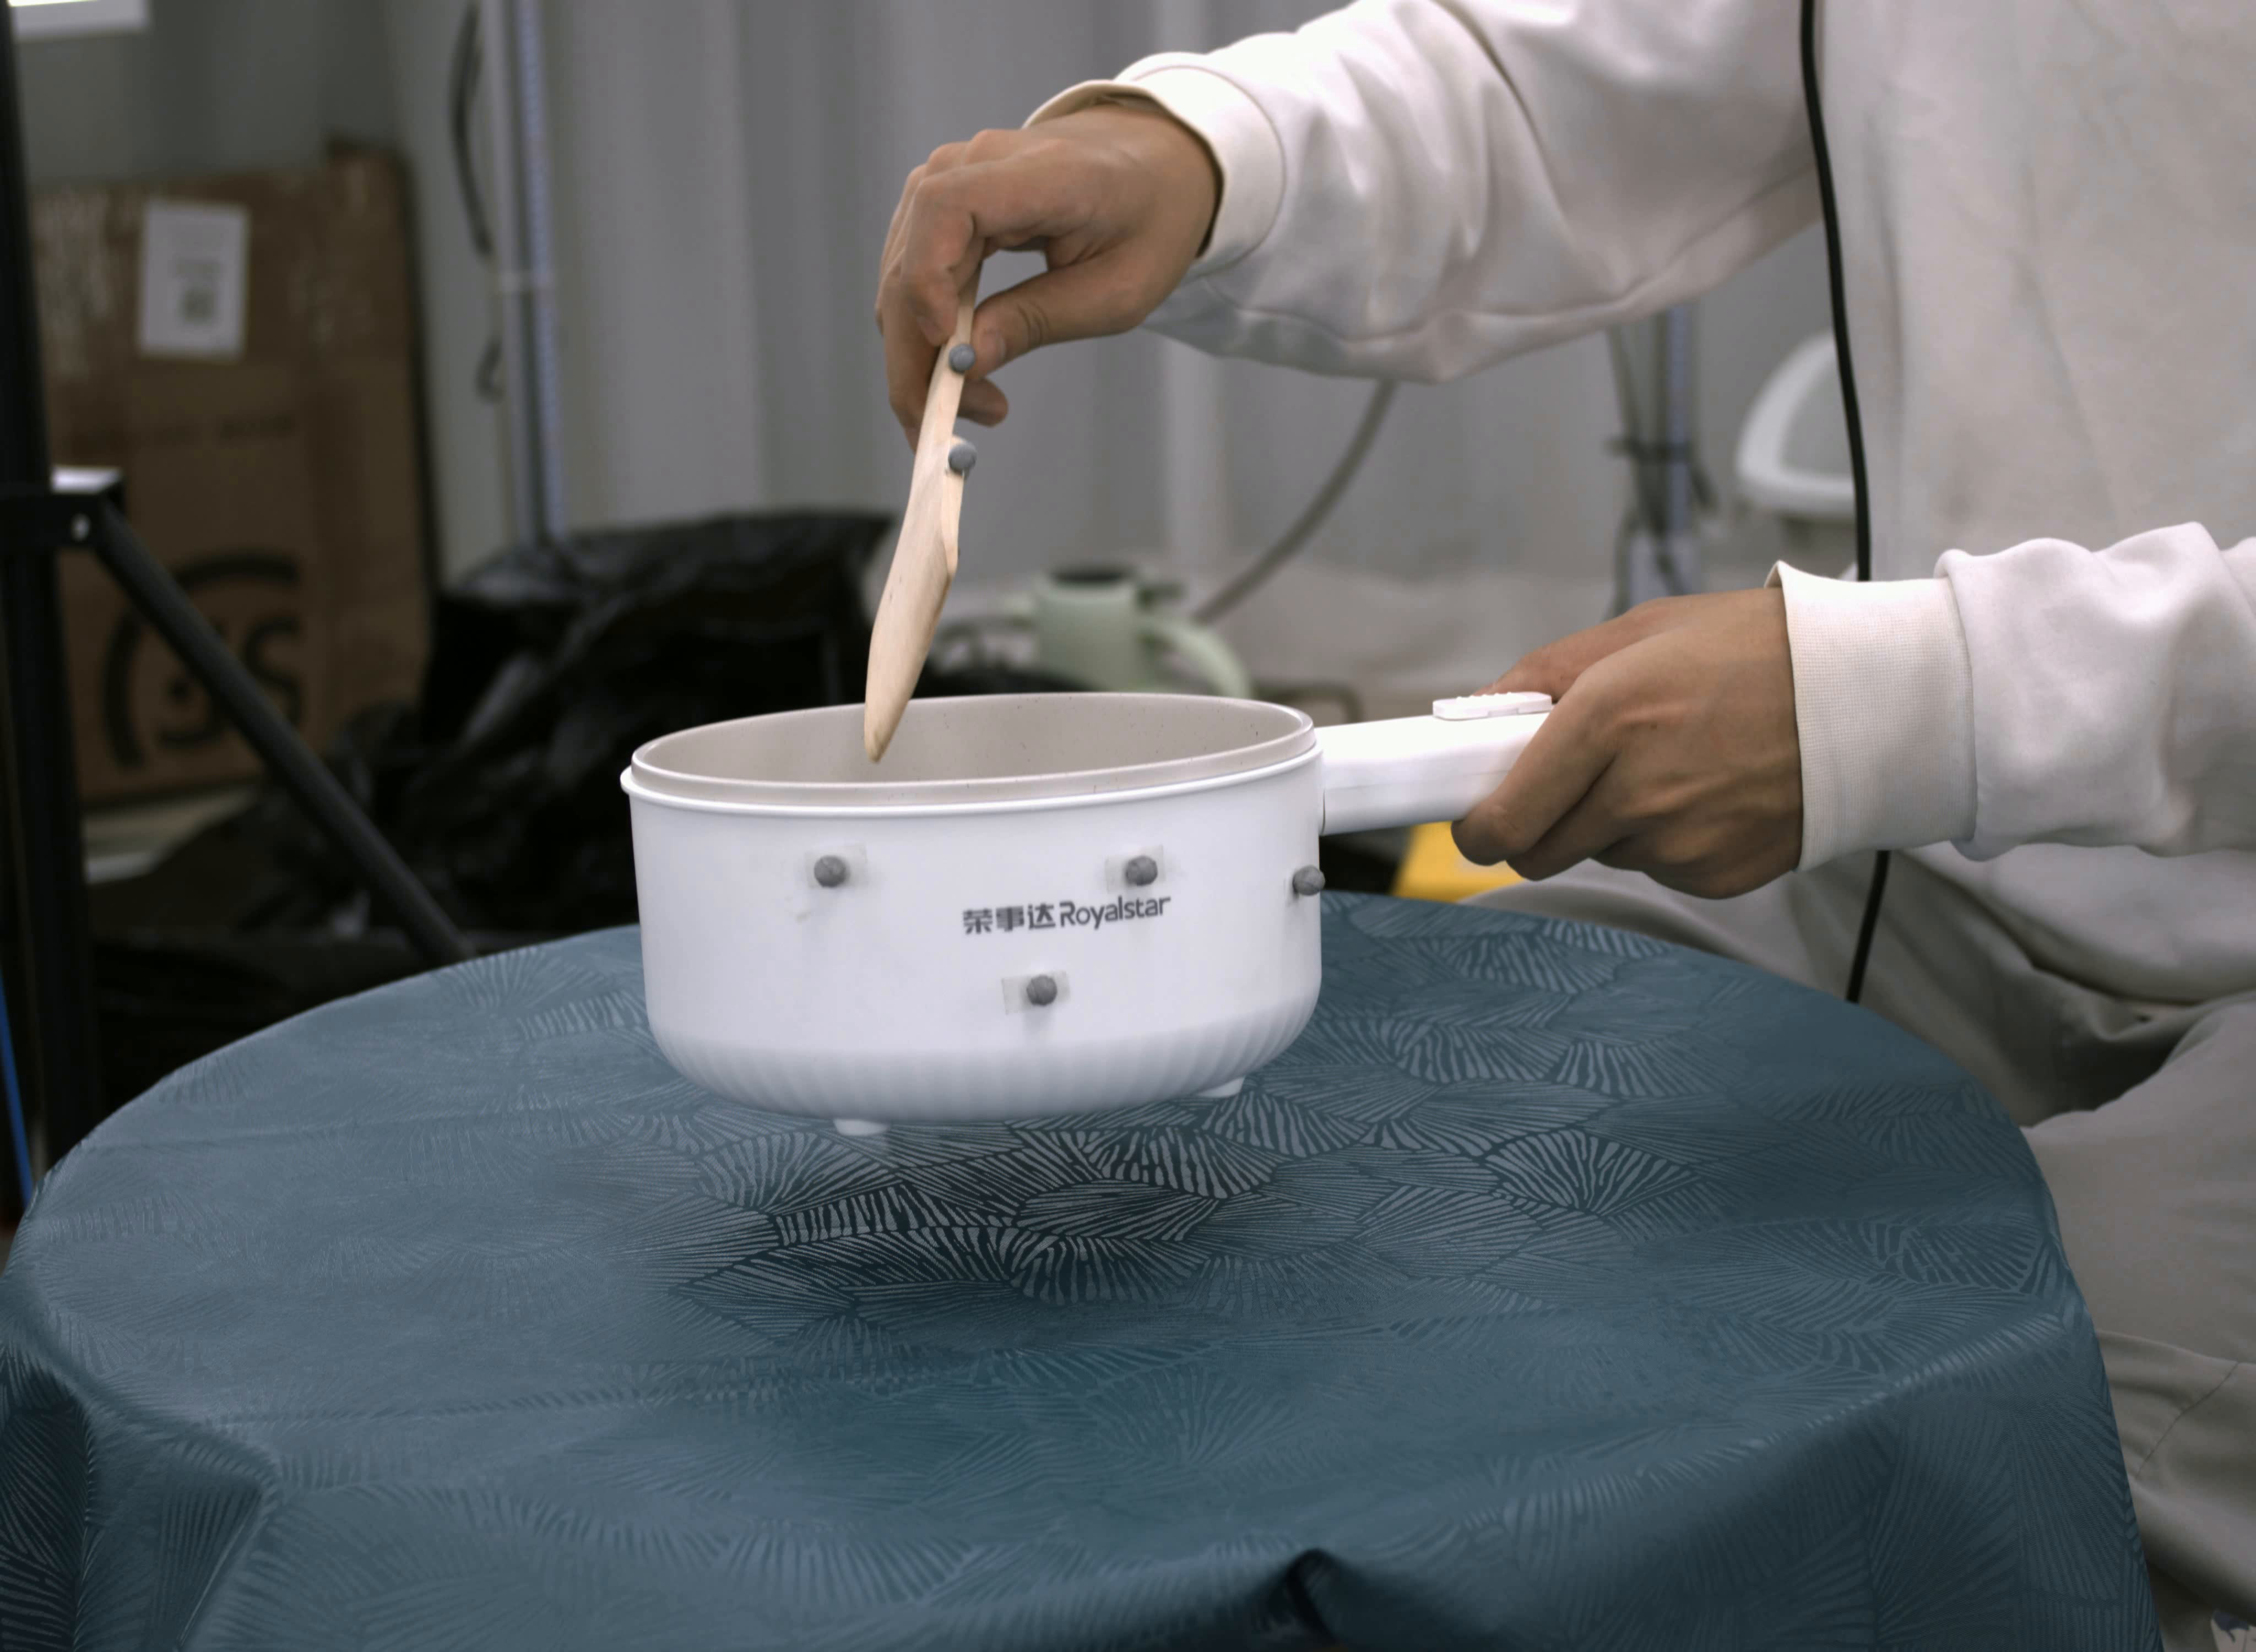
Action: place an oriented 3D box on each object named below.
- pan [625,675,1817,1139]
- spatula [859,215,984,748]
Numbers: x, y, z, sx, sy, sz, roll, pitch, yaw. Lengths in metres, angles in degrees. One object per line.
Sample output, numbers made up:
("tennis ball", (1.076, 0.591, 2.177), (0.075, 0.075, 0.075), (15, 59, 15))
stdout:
("pan", (0.031, 0.018, 1.543), (0.349, 0.102, 0.204), (-5, 8, -16))
("spatula", (-0.059, -0.121, 1.630), (0.010, 0.072, 0.294), (18, 28, -7))
